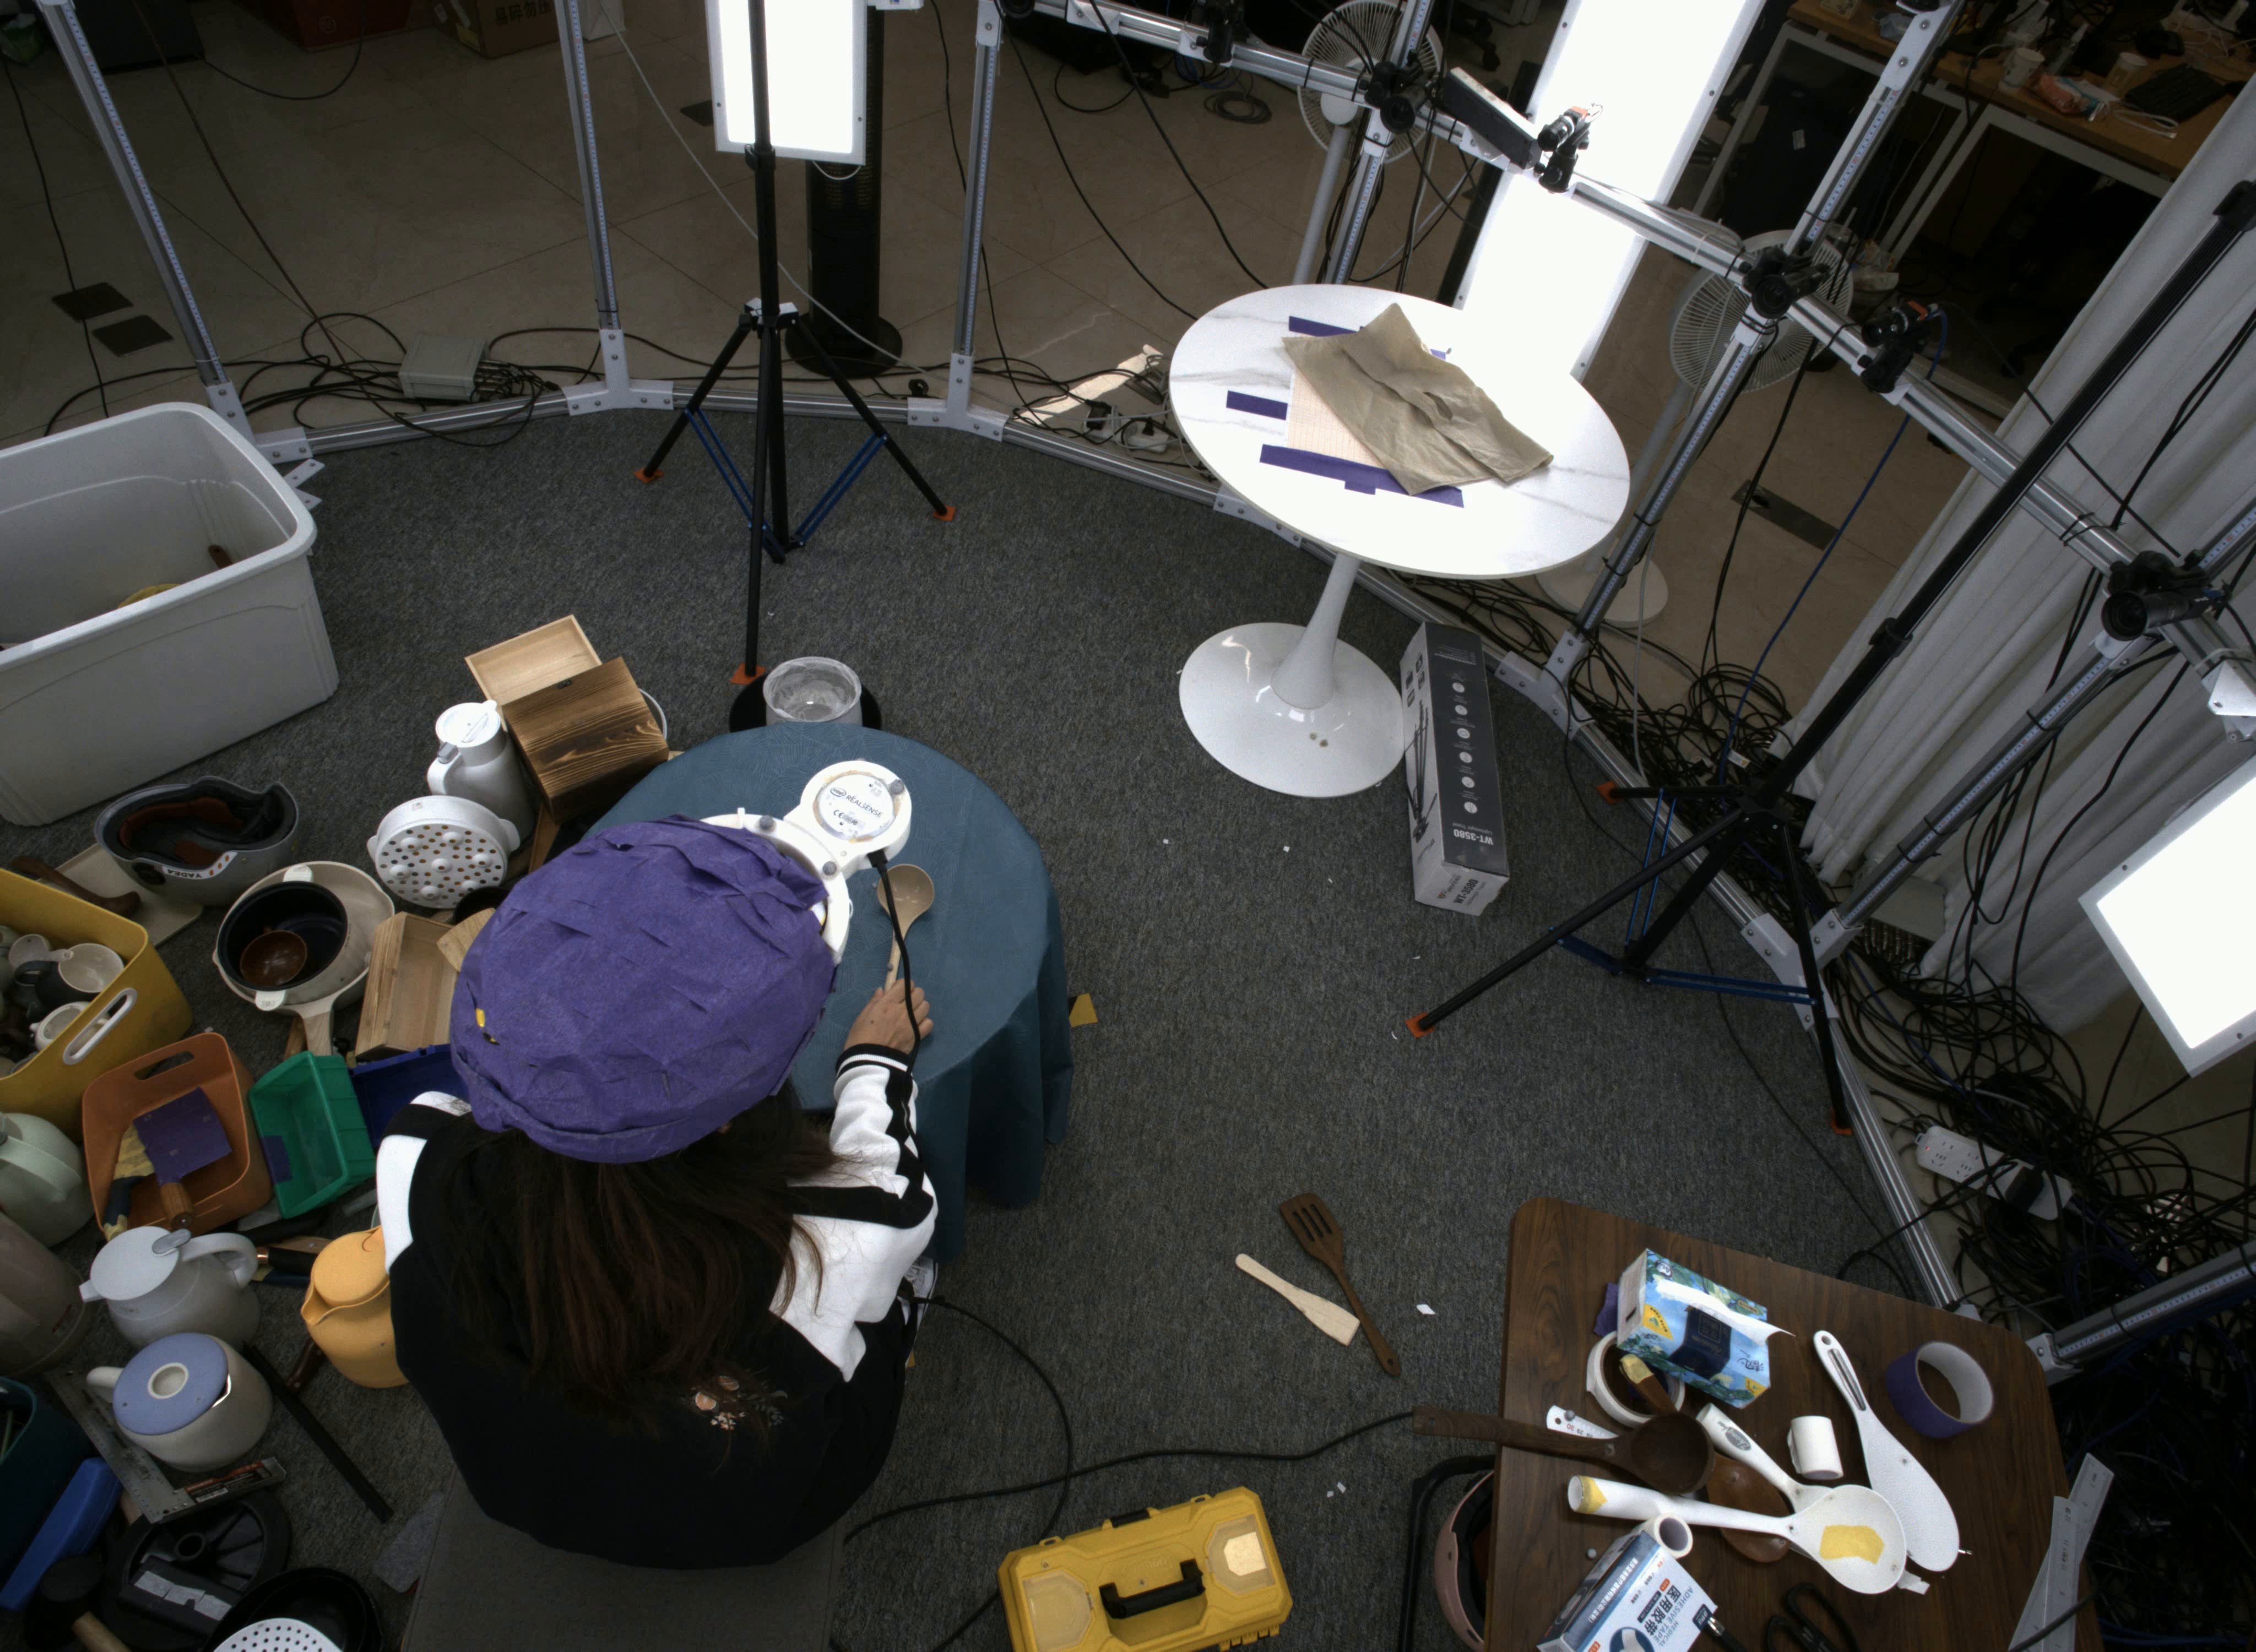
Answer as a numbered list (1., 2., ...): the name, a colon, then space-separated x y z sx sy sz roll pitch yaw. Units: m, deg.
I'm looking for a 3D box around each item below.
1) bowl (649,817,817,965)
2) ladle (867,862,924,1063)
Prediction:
1. bowl: -0.477 0.092 1.573 0.196 0.097 0.193 8 49 -7
2. ladle: -0.293 0.157 1.588 0.072 0.074 0.249 6 52 -10
